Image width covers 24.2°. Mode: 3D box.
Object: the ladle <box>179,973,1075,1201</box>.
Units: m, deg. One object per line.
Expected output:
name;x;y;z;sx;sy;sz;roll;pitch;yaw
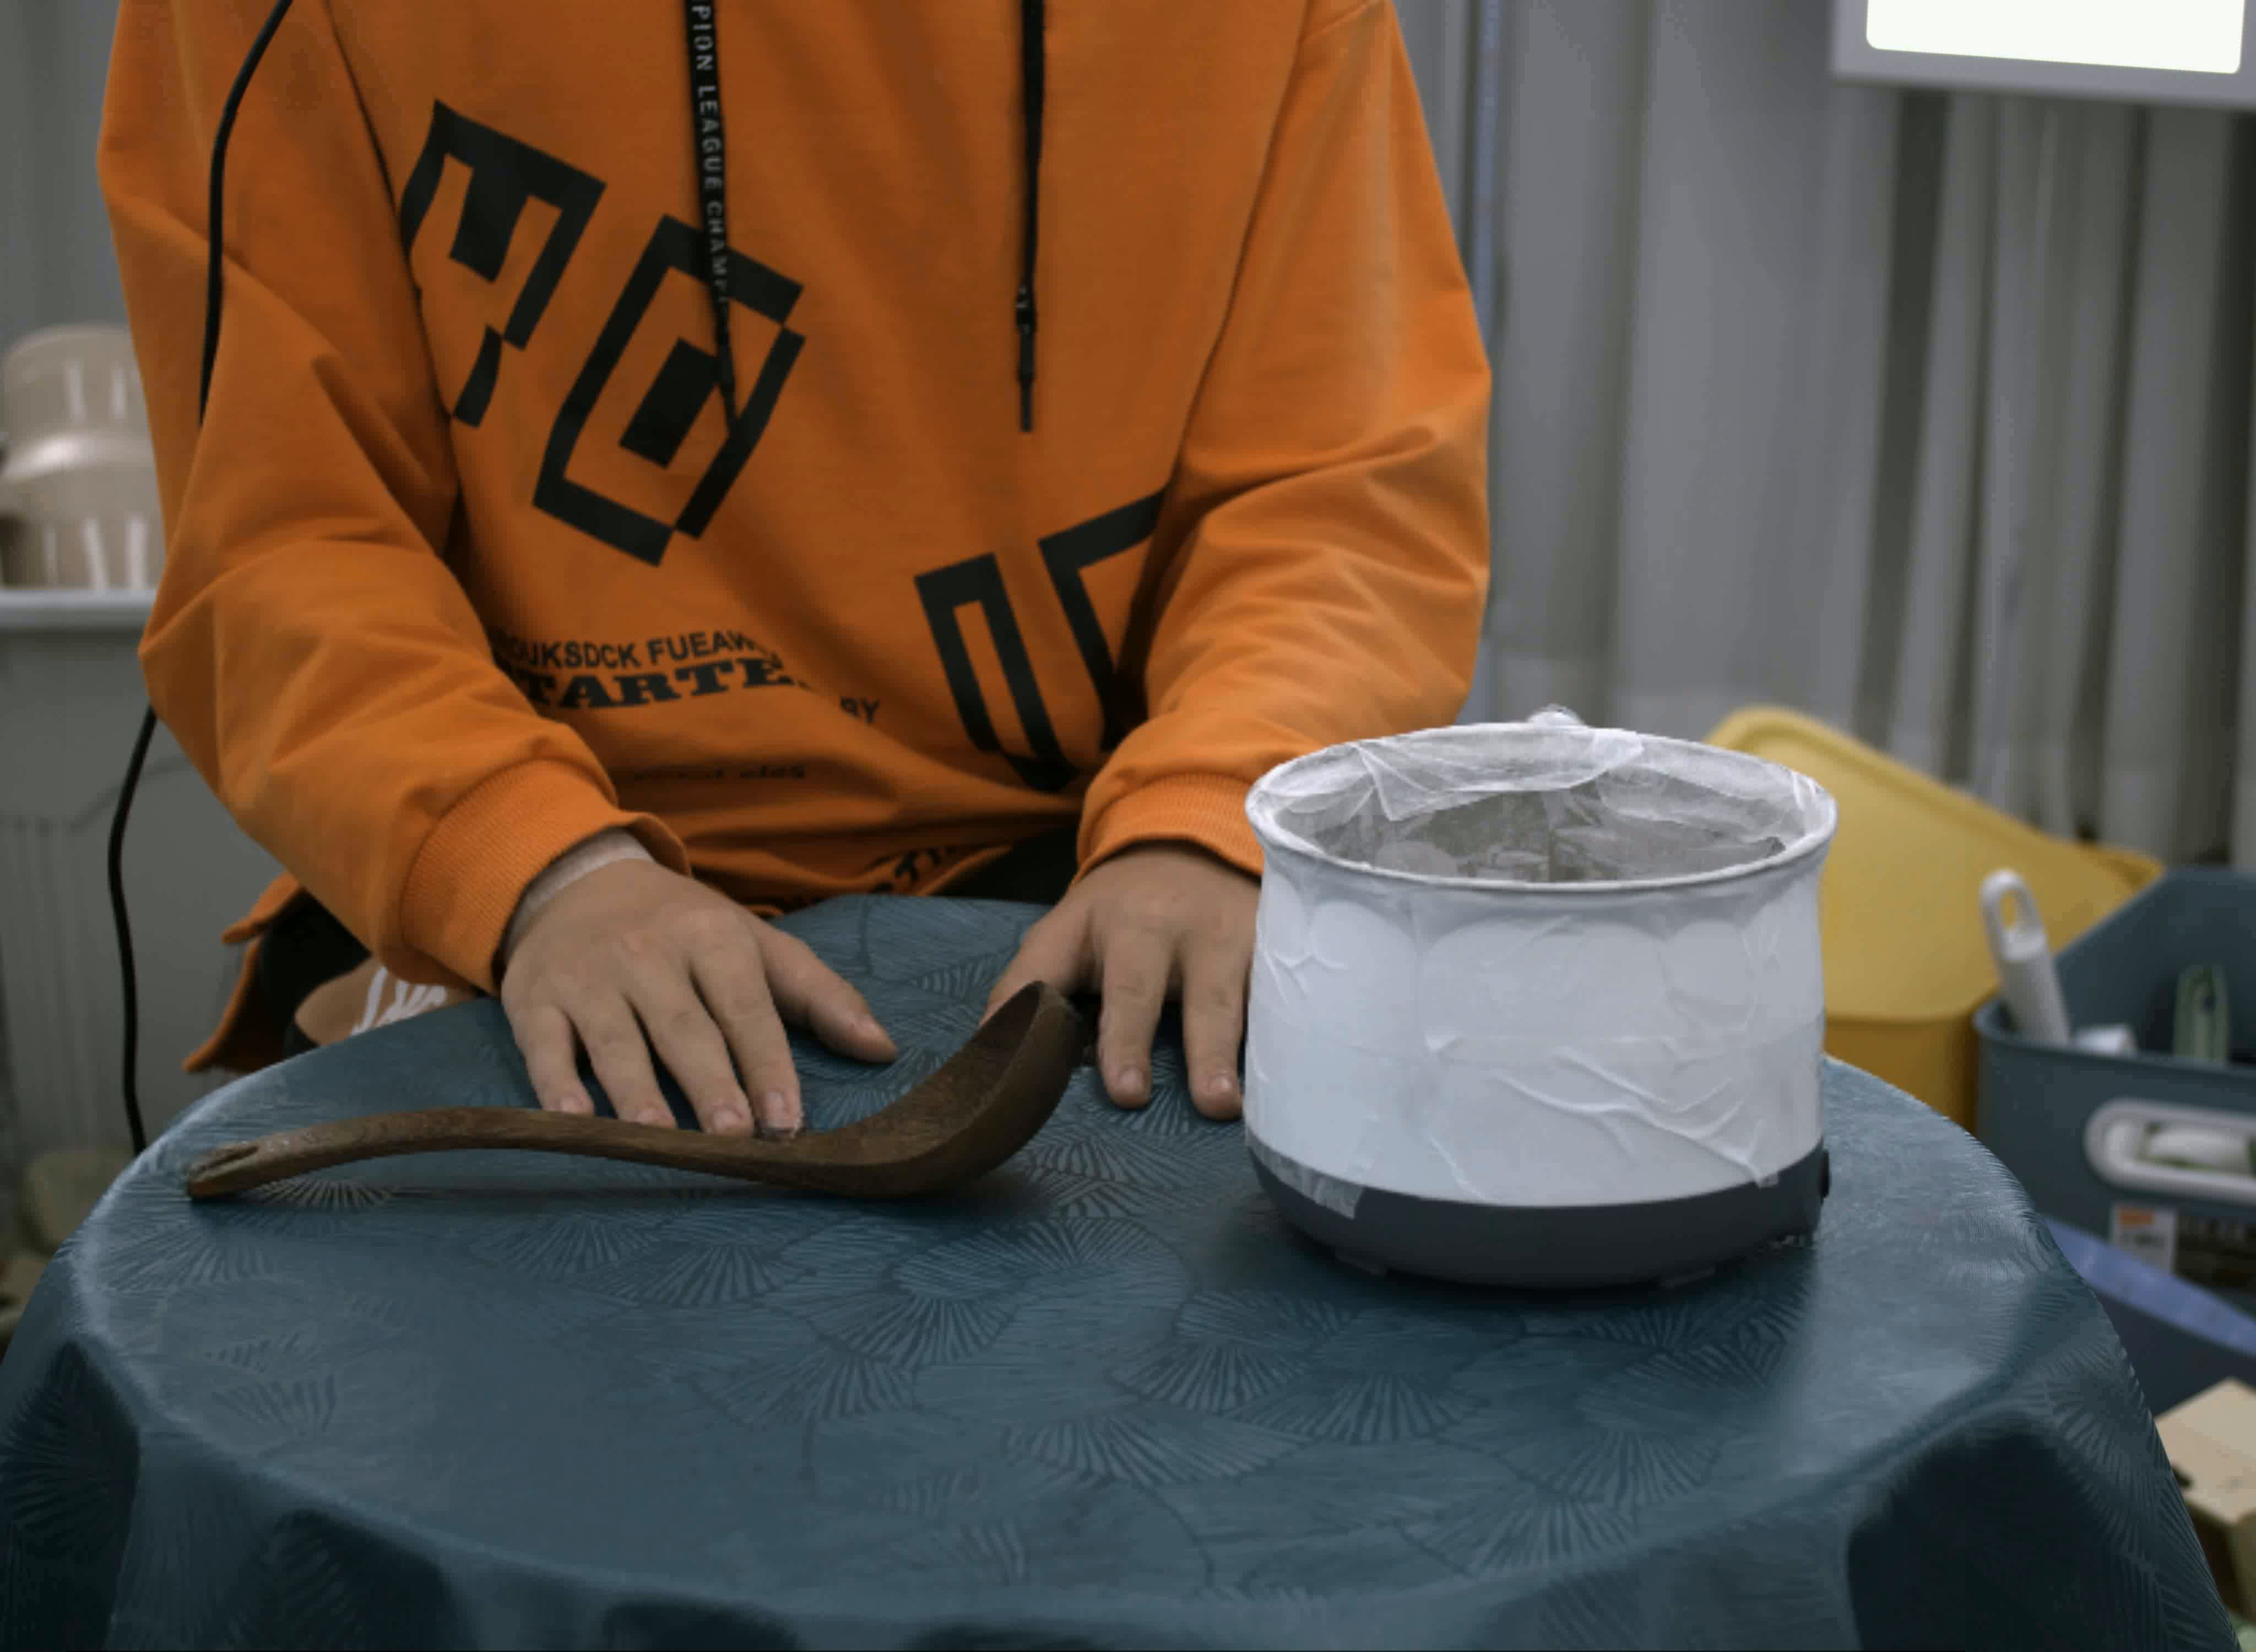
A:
ladle;-0.153;0.079;1.607;0.273;0.072;0.075;1;13;-2

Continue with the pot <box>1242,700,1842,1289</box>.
pot;0.125;0.046;1.606;0.178;0.138;0.233;2;16;4
